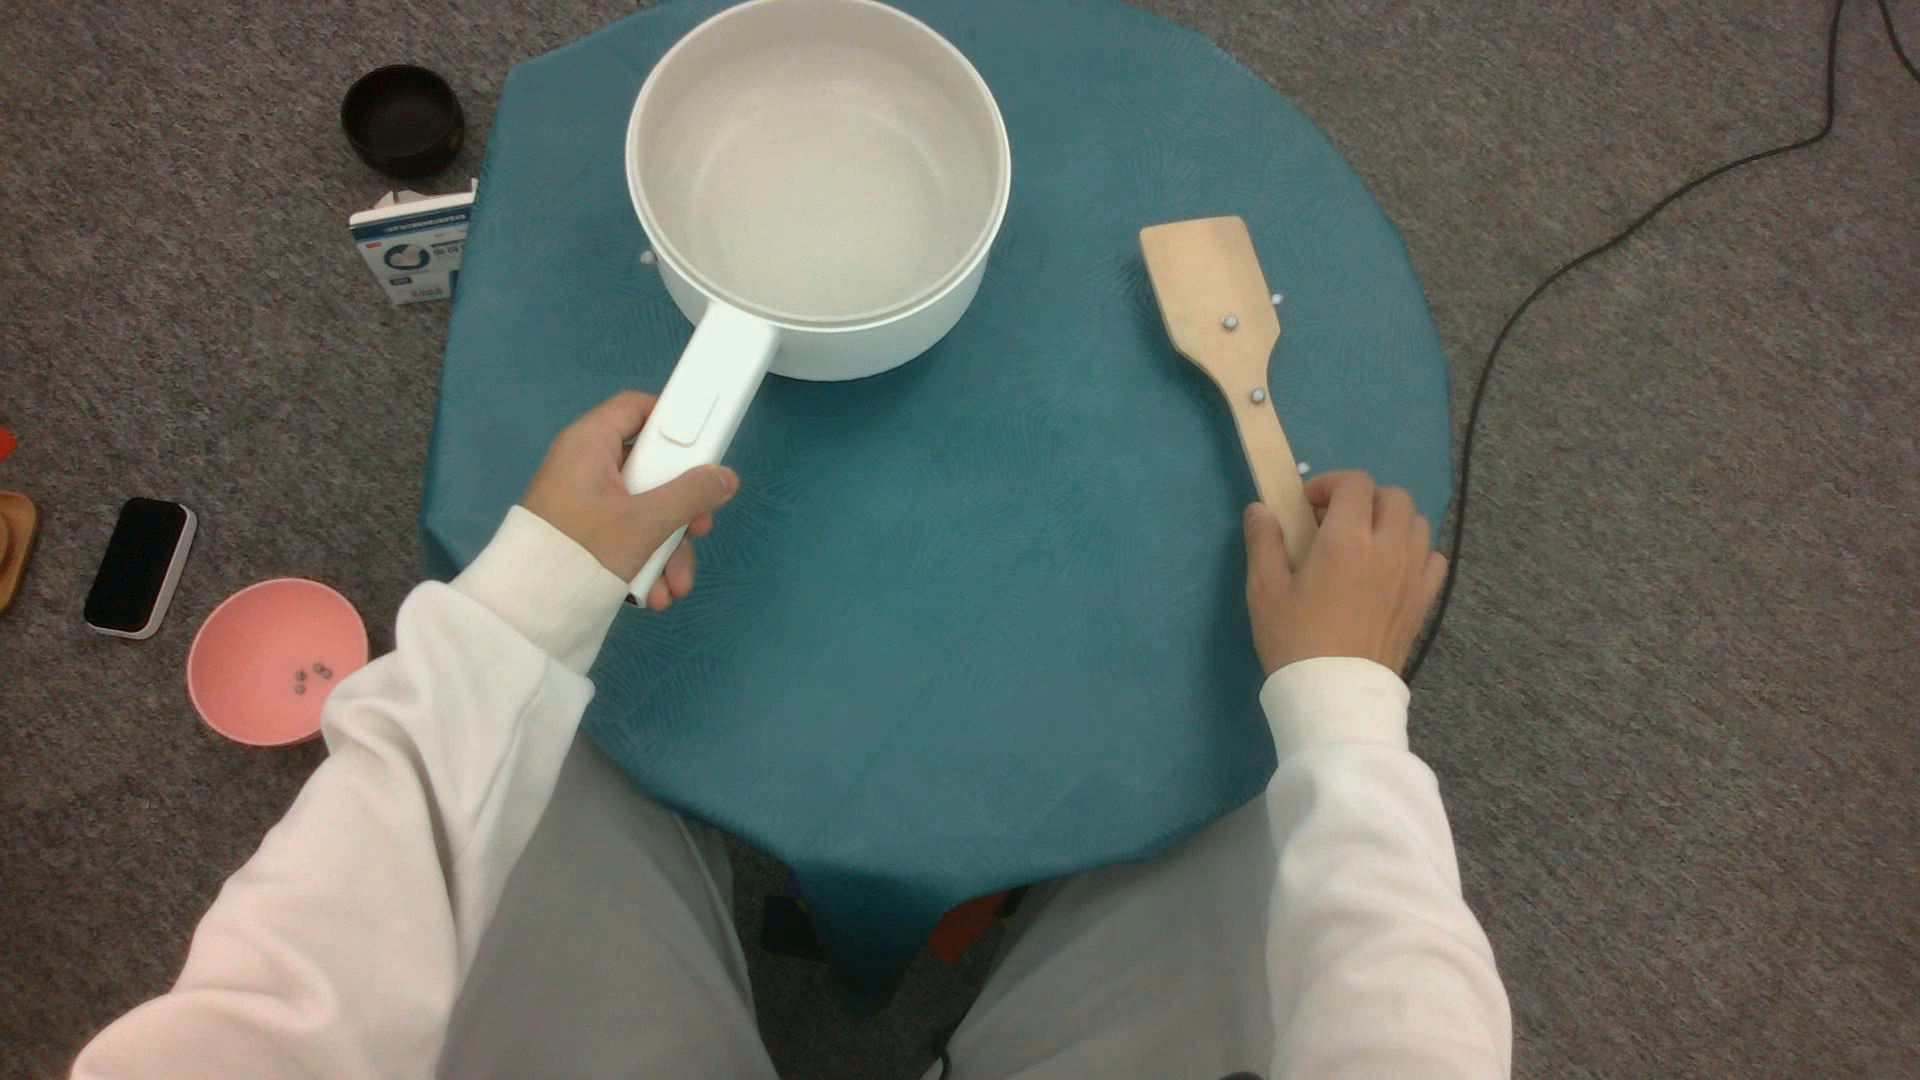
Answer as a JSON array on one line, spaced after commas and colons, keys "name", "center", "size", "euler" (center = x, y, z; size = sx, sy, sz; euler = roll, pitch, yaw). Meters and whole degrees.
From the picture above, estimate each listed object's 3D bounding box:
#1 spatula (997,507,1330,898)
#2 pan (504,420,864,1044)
[{"name": "spatula", "center": [0.124, 0.091, 0.829], "size": [0.072, 0.010, 0.293], "euler": [-23, 56, -18]}, {"name": "pan", "center": [-0.164, 0.102, 0.775], "size": [0.201, 0.101, 0.356], "euler": [6, 59, 1]}]
